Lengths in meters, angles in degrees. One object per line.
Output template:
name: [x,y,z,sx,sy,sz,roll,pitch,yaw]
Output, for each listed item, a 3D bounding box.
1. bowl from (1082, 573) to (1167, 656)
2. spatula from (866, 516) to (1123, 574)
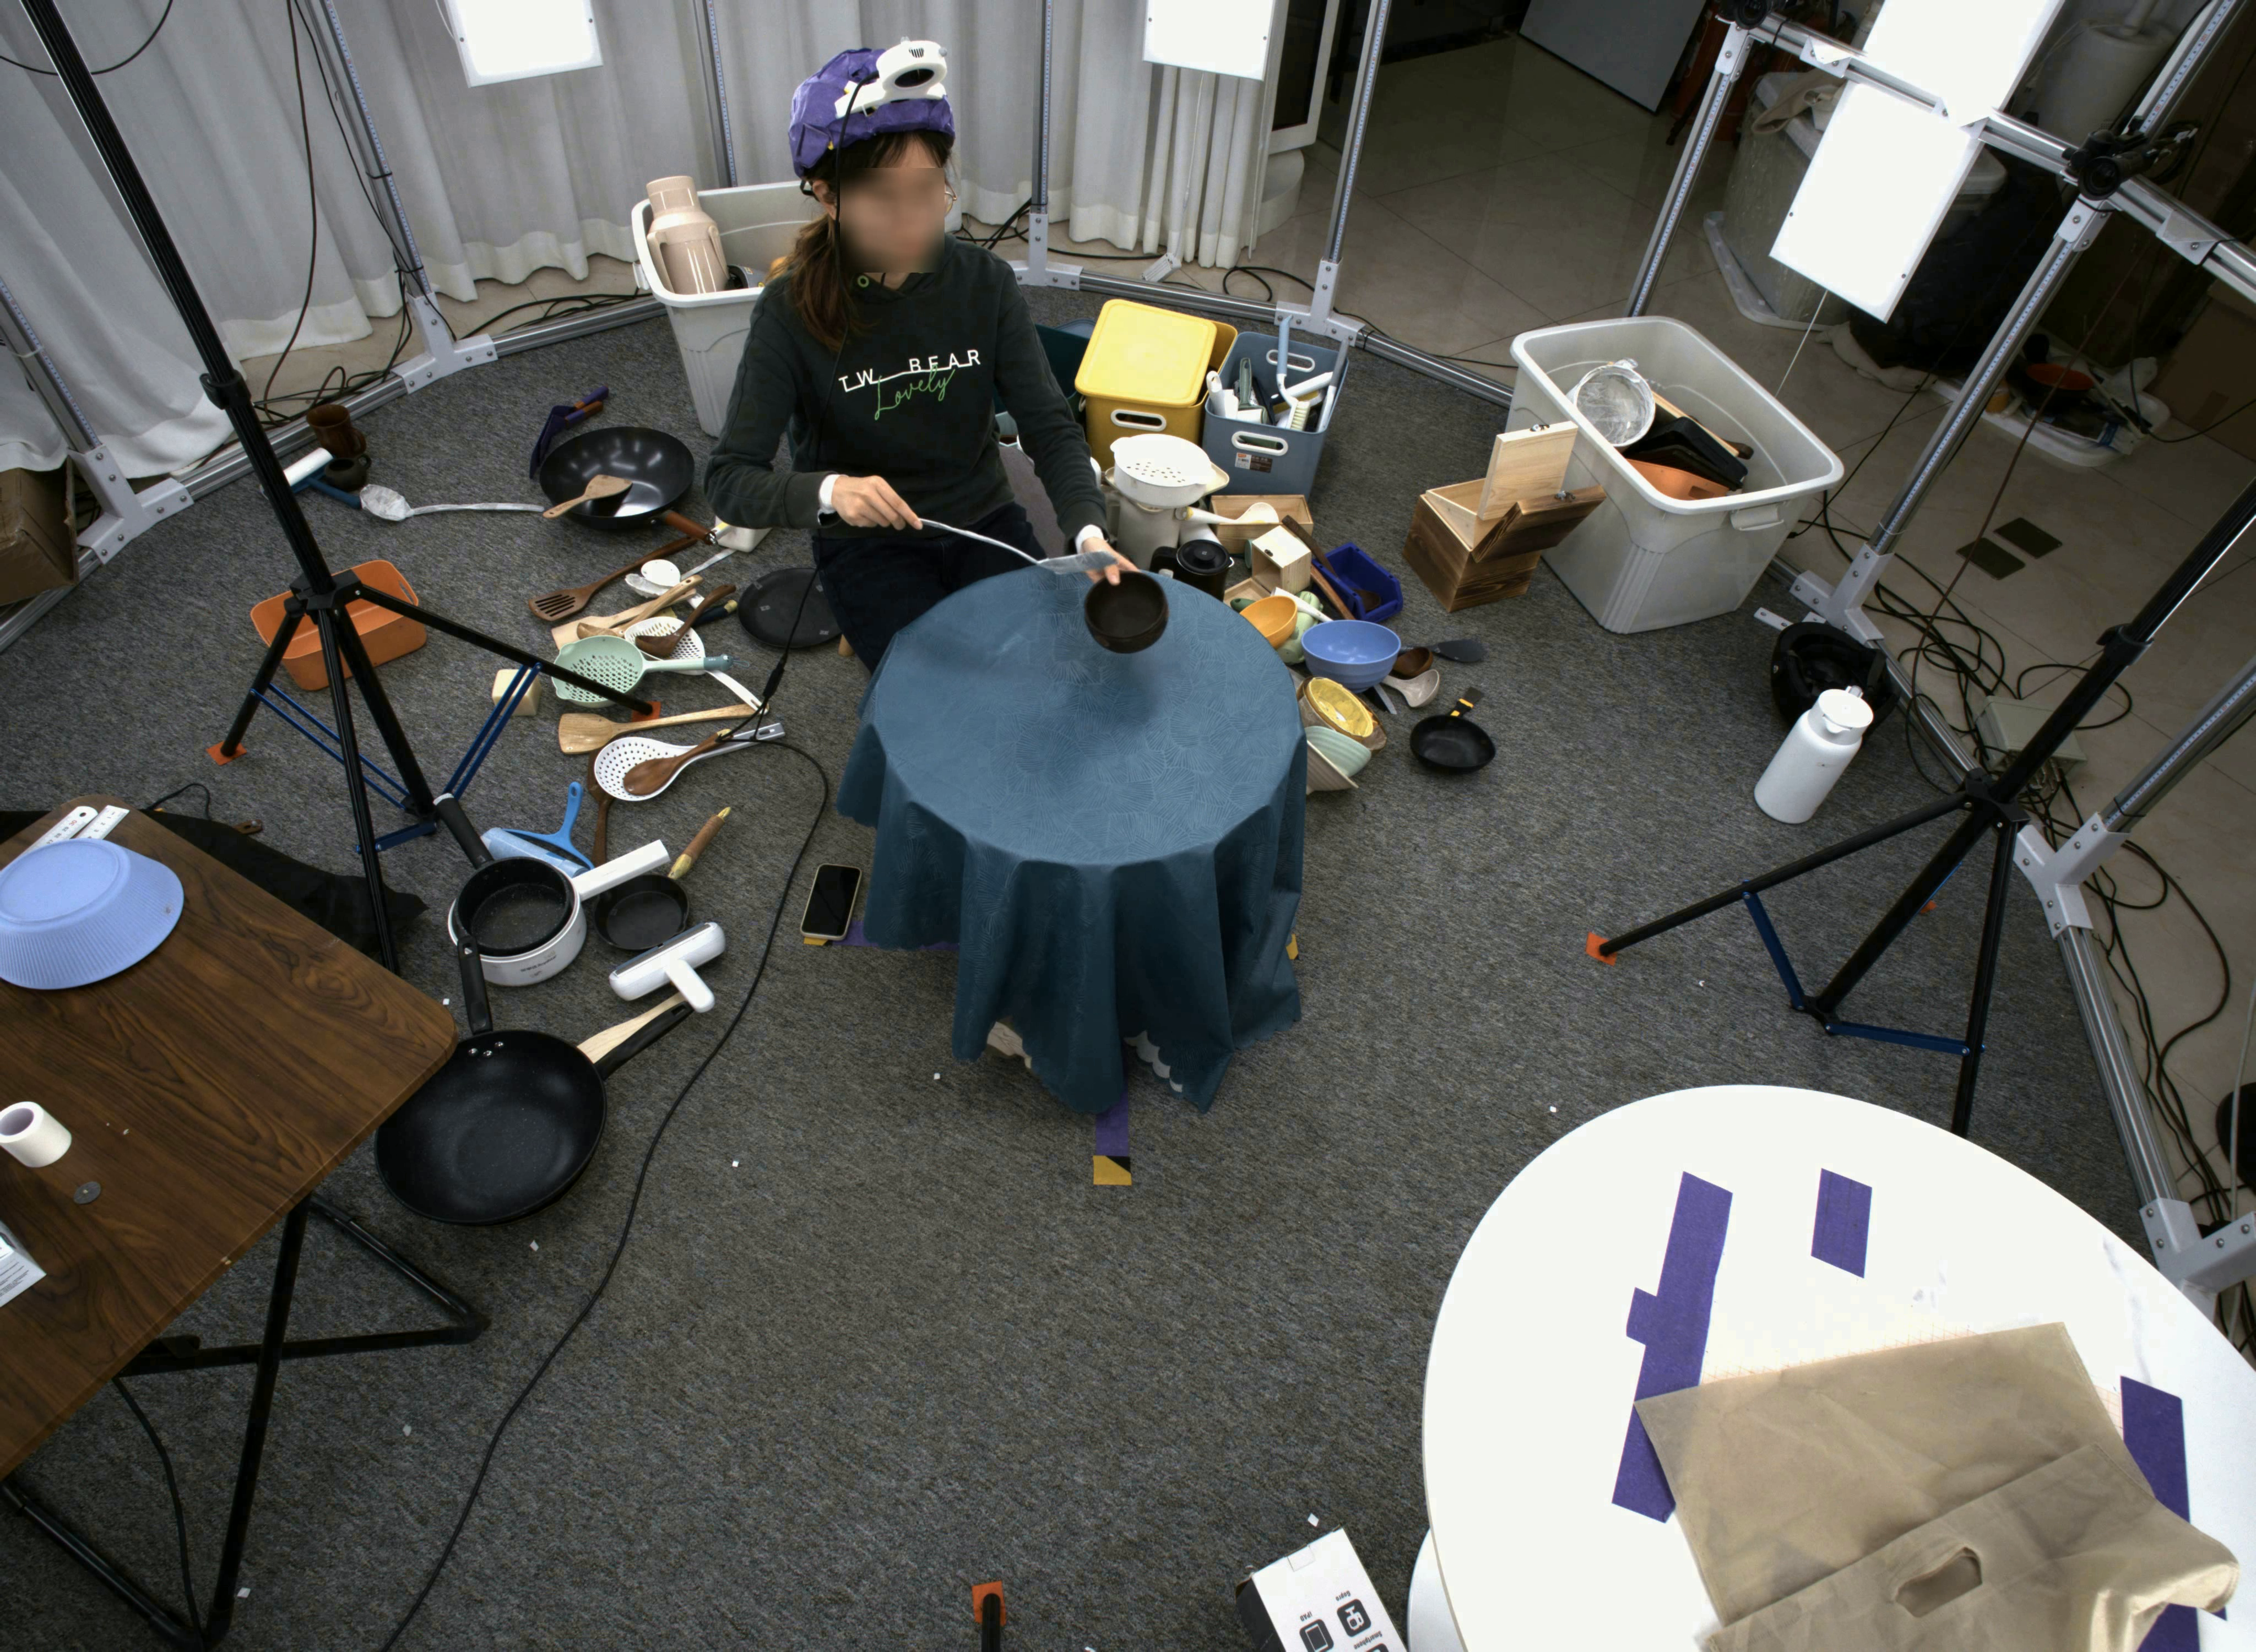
bowl: [-0.003,-0.291,1.817,0.118,0.068,0.120,-4,59,6]
spatula: [-0.187,-0.388,1.739,0.366,0.044,0.098,17,5,12]
